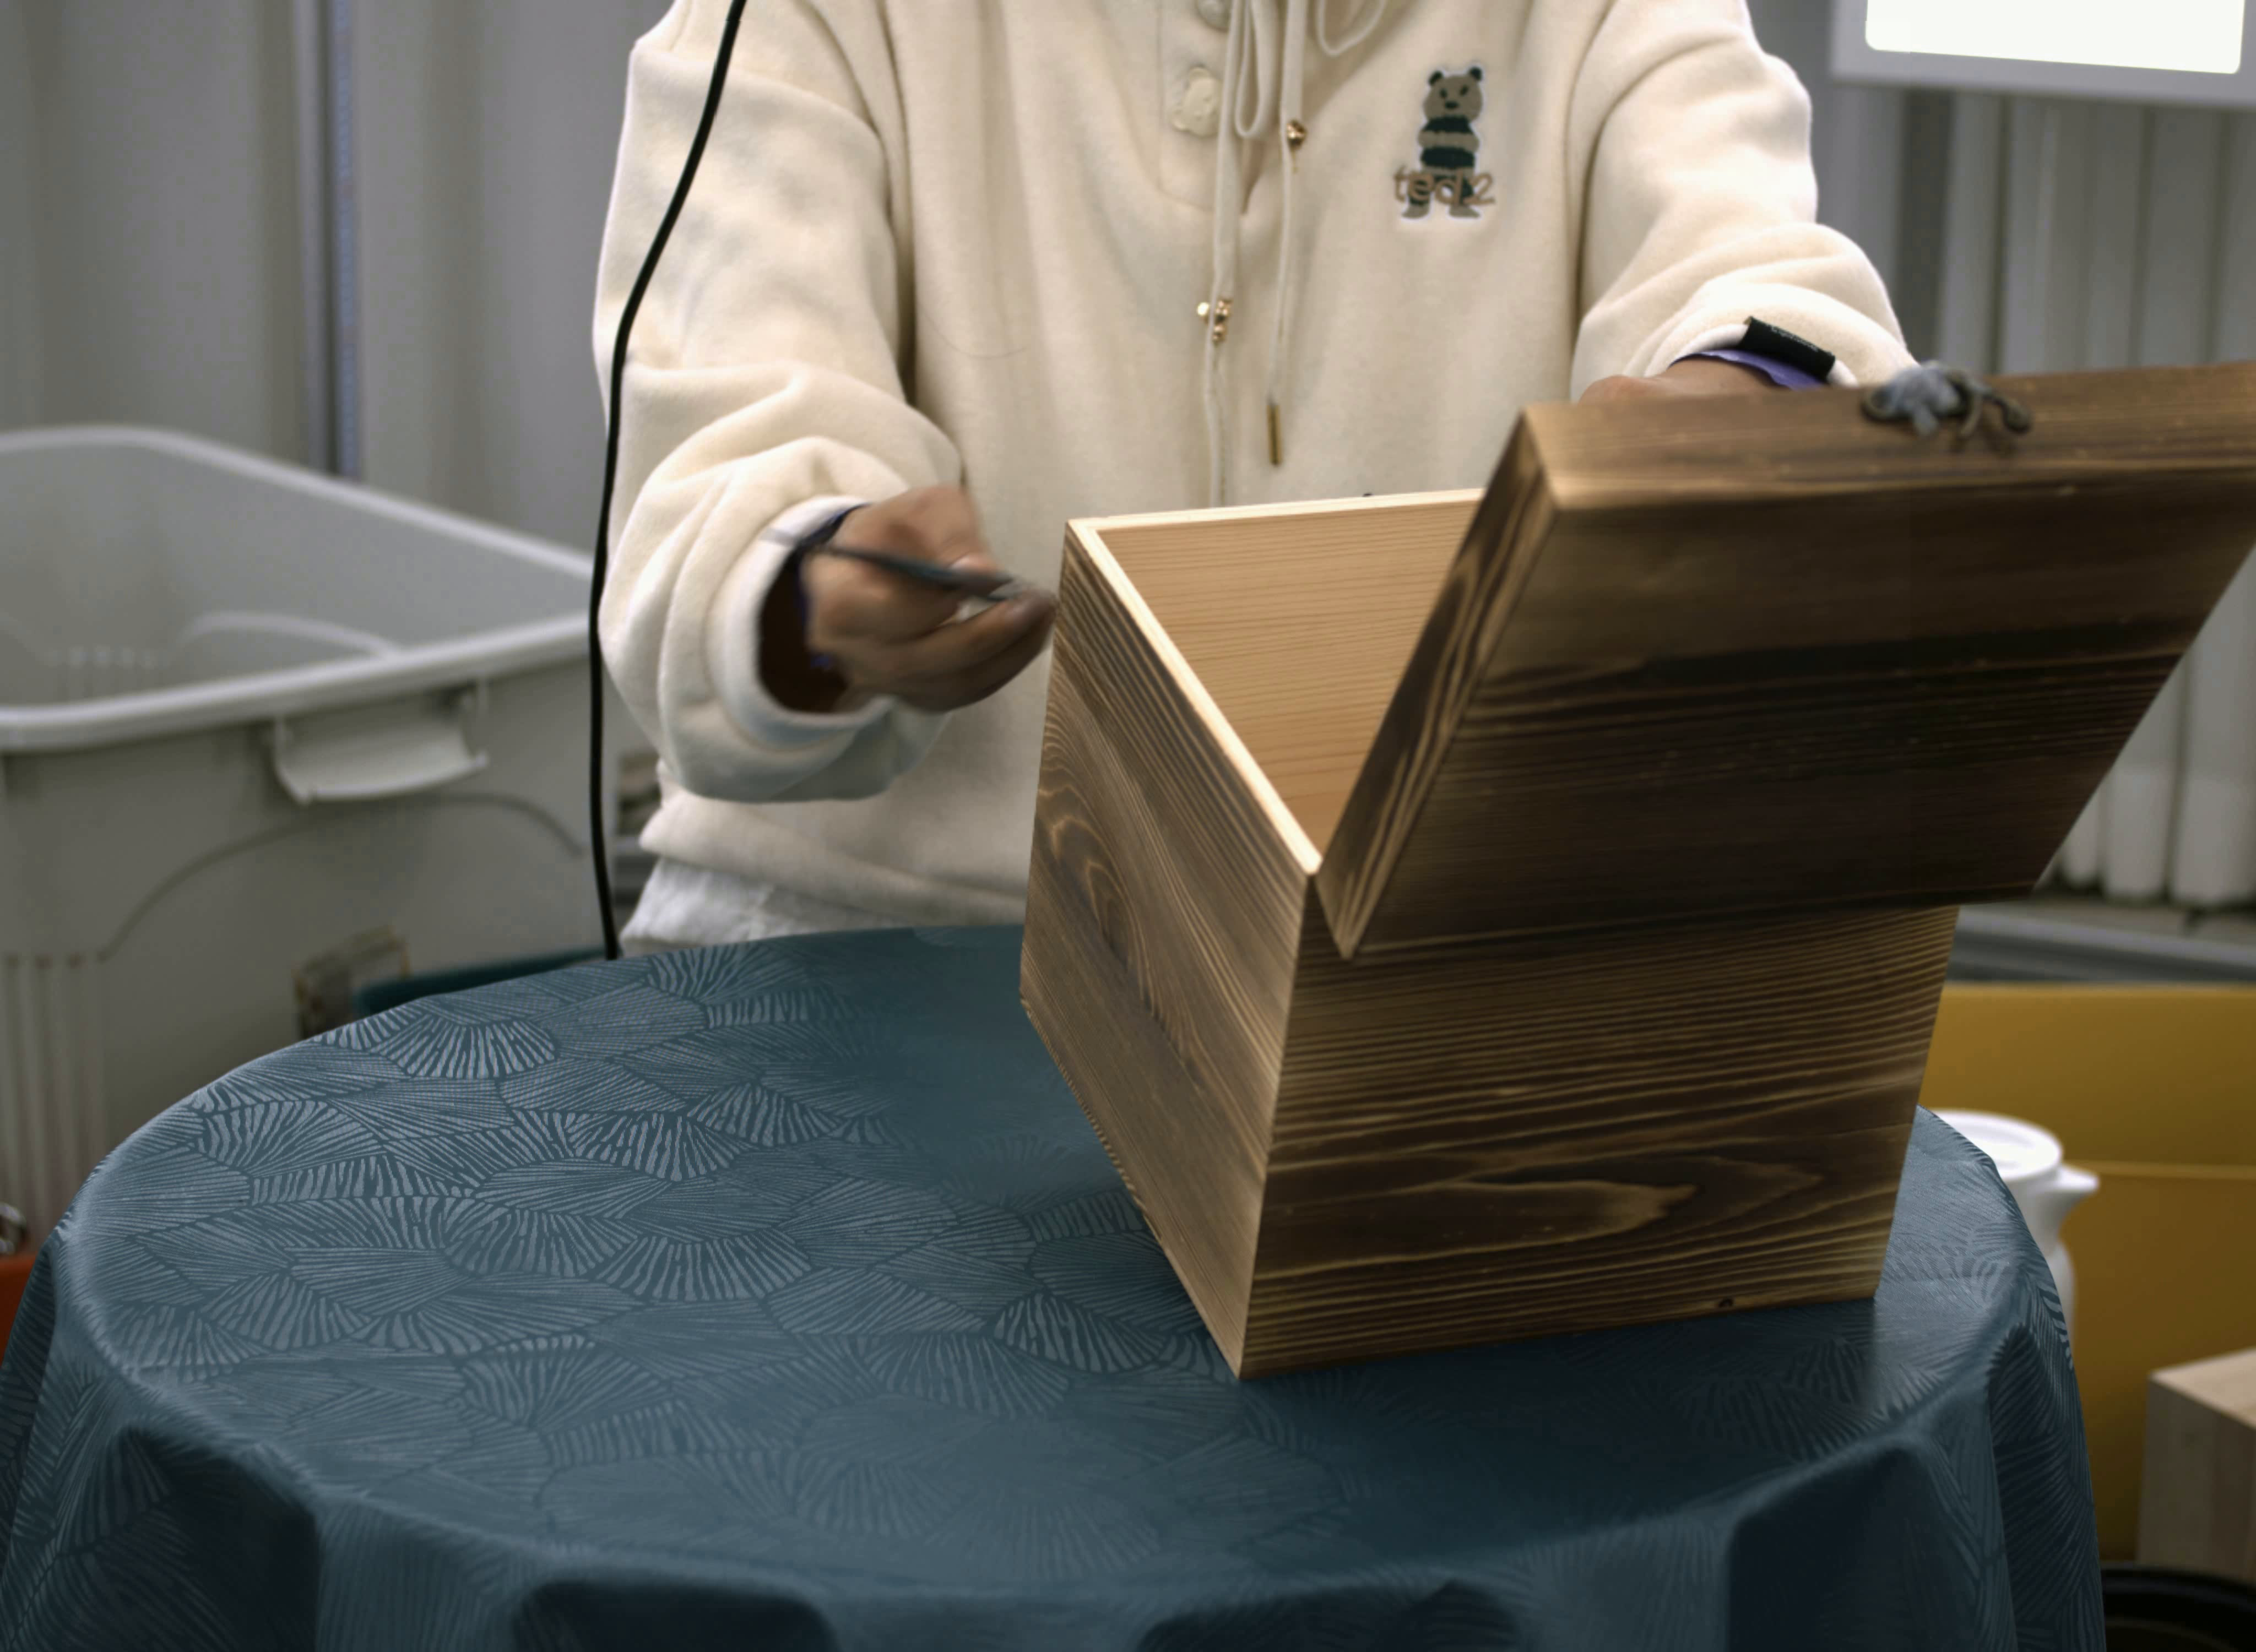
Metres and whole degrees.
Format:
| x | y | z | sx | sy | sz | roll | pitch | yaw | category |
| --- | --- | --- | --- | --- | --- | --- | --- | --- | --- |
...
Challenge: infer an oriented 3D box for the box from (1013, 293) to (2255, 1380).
| x | y | z | sx | sy | sz | roll | pitch | yaw | category |
| --- | --- | --- | --- | --- | --- | --- | --- | --- | --- |
| 0.129 | -0.031 | 1.448 | 0.209 | 0.379 | 0.318 | -5 | 34 | -20 | box |

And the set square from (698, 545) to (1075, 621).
| x | y | z | sx | sy | sz | roll | pitch | yaw | category |
| --- | --- | --- | --- | --- | --- | --- | --- | --- | --- |
| -0.077 | -0.074 | 1.625 | 0.133 | 0.006 | 0.061 | 8 | -8 | -25 | set square |
